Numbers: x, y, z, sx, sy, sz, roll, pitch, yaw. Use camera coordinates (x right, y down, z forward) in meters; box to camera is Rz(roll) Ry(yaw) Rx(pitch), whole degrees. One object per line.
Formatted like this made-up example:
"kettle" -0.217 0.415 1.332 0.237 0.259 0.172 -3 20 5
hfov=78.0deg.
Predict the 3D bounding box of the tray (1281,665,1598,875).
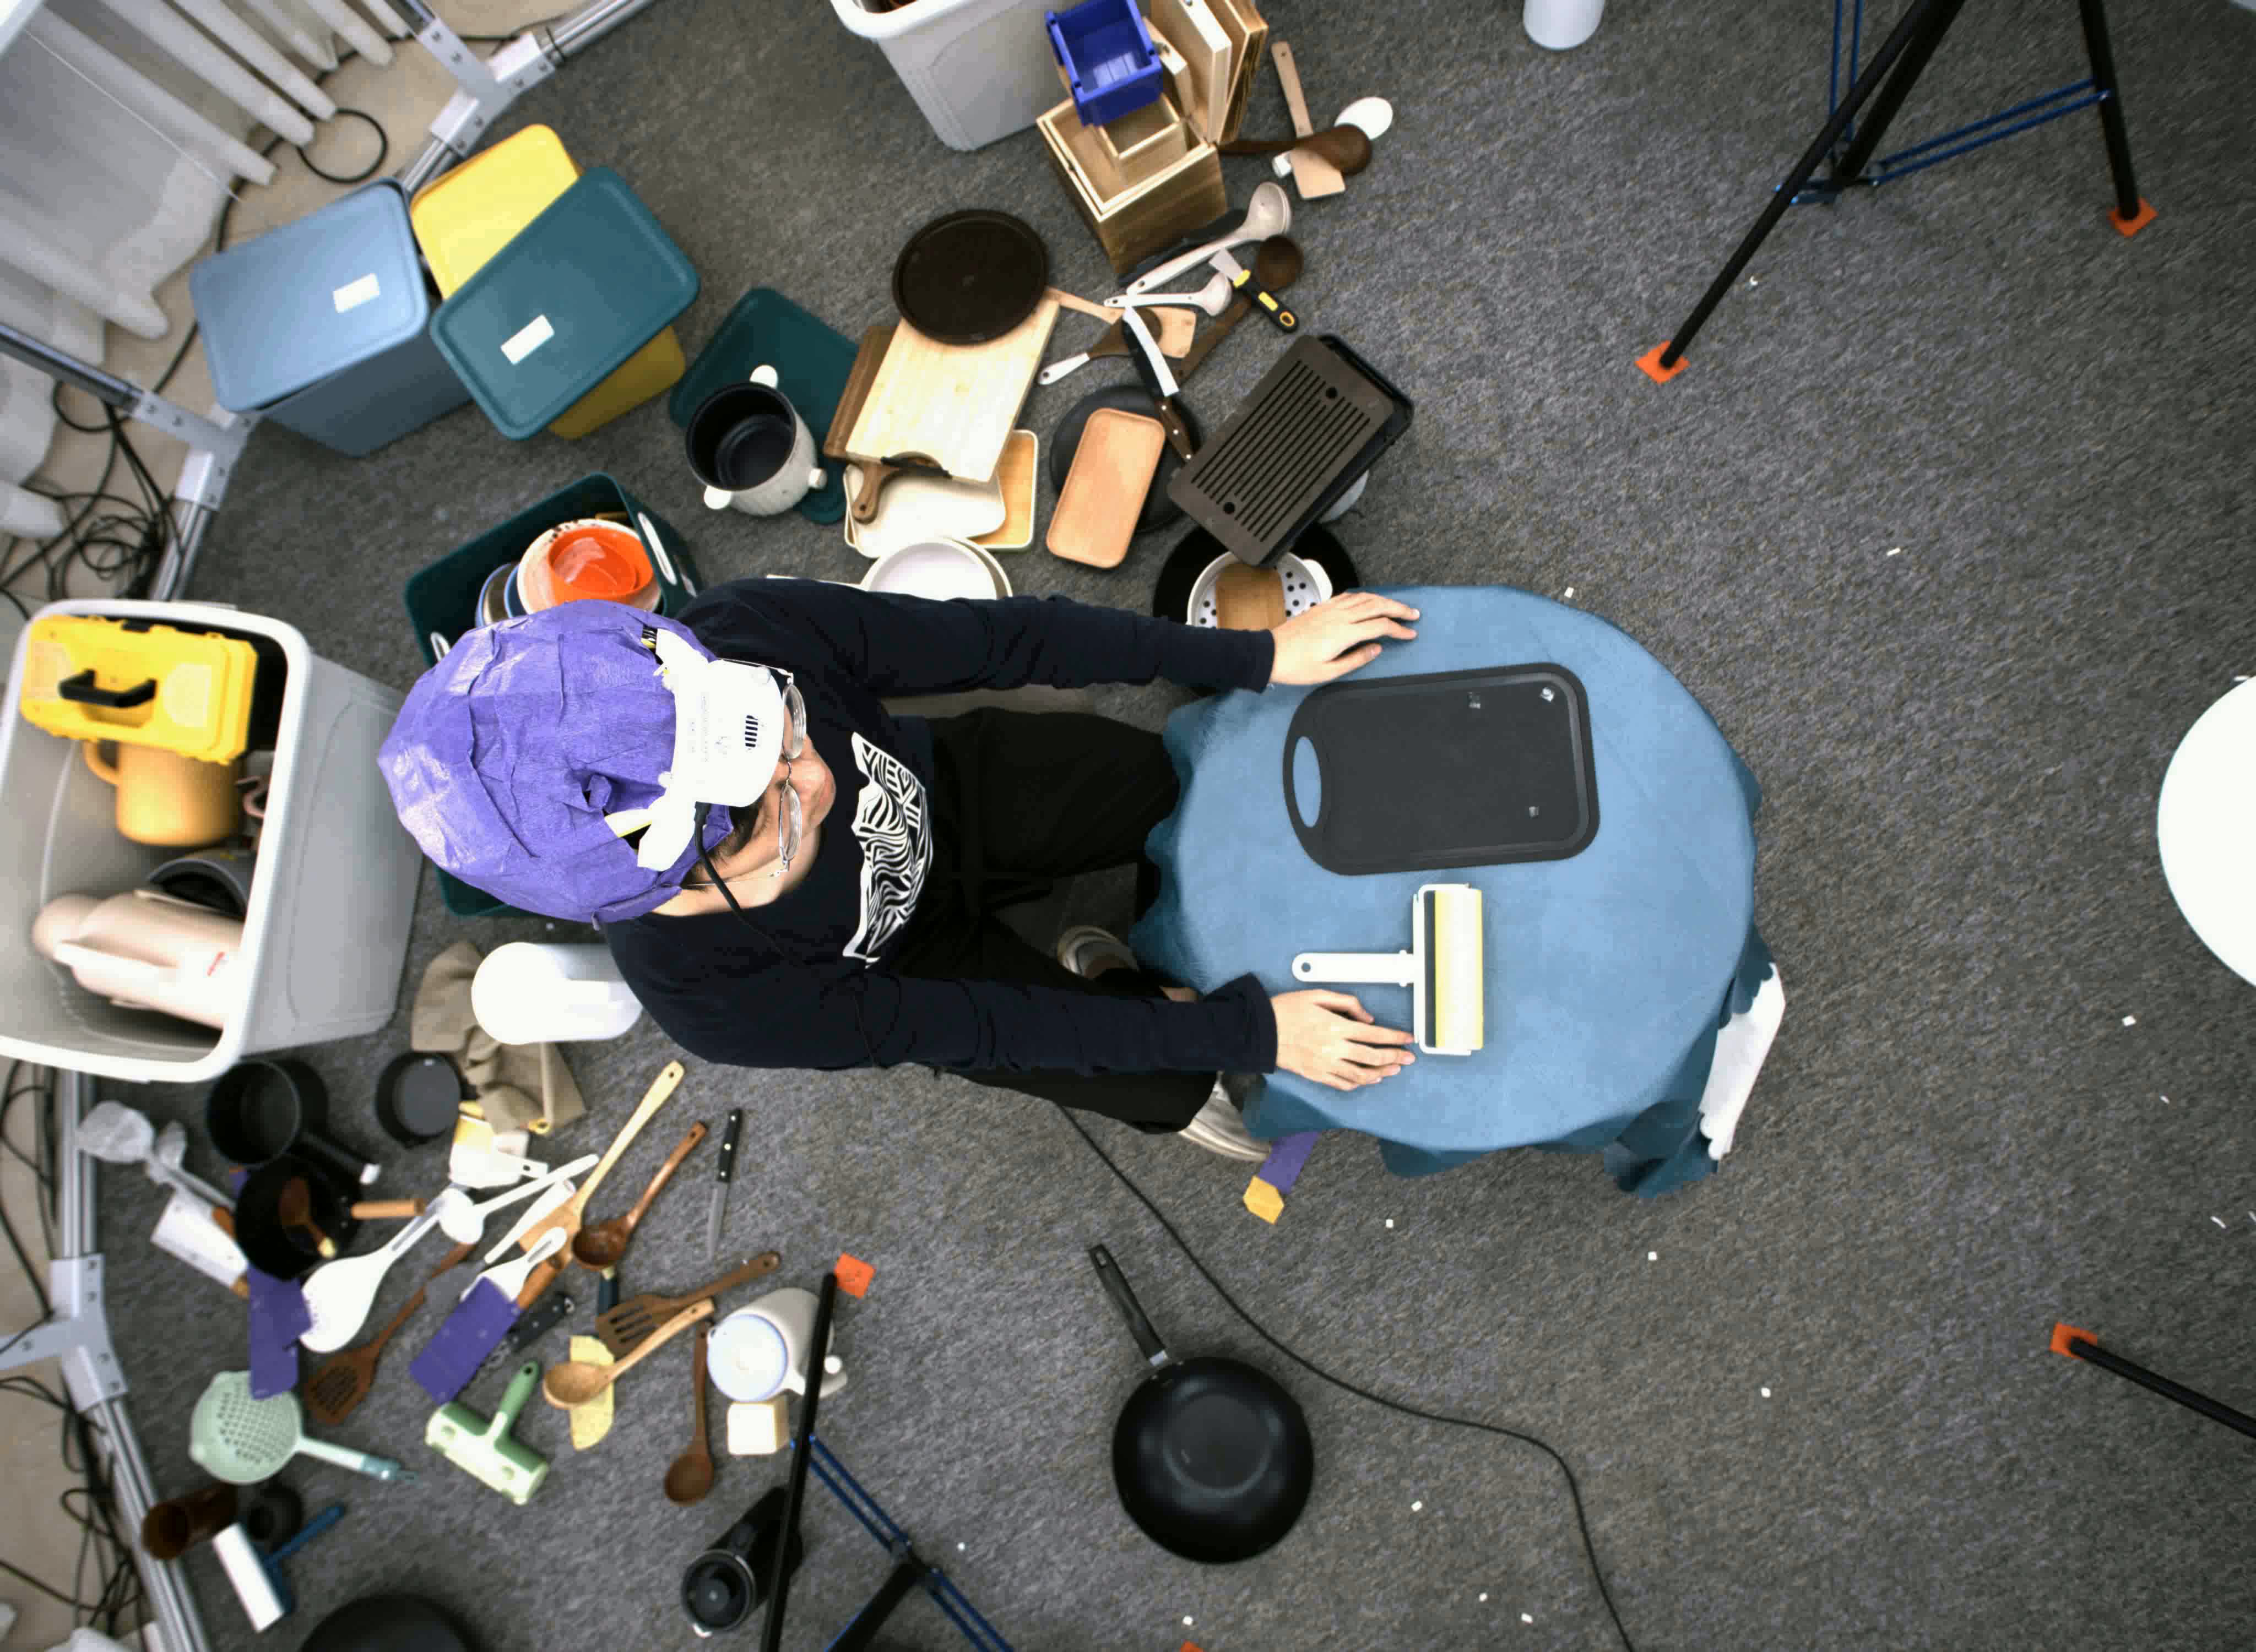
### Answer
"tray" 0.325 -0.060 1.454 0.327 0.010 0.210 -5 86 11

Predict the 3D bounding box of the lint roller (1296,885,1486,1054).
"lint roller" 0.270 0.148 1.431 0.192 0.051 0.173 -2 85 8
